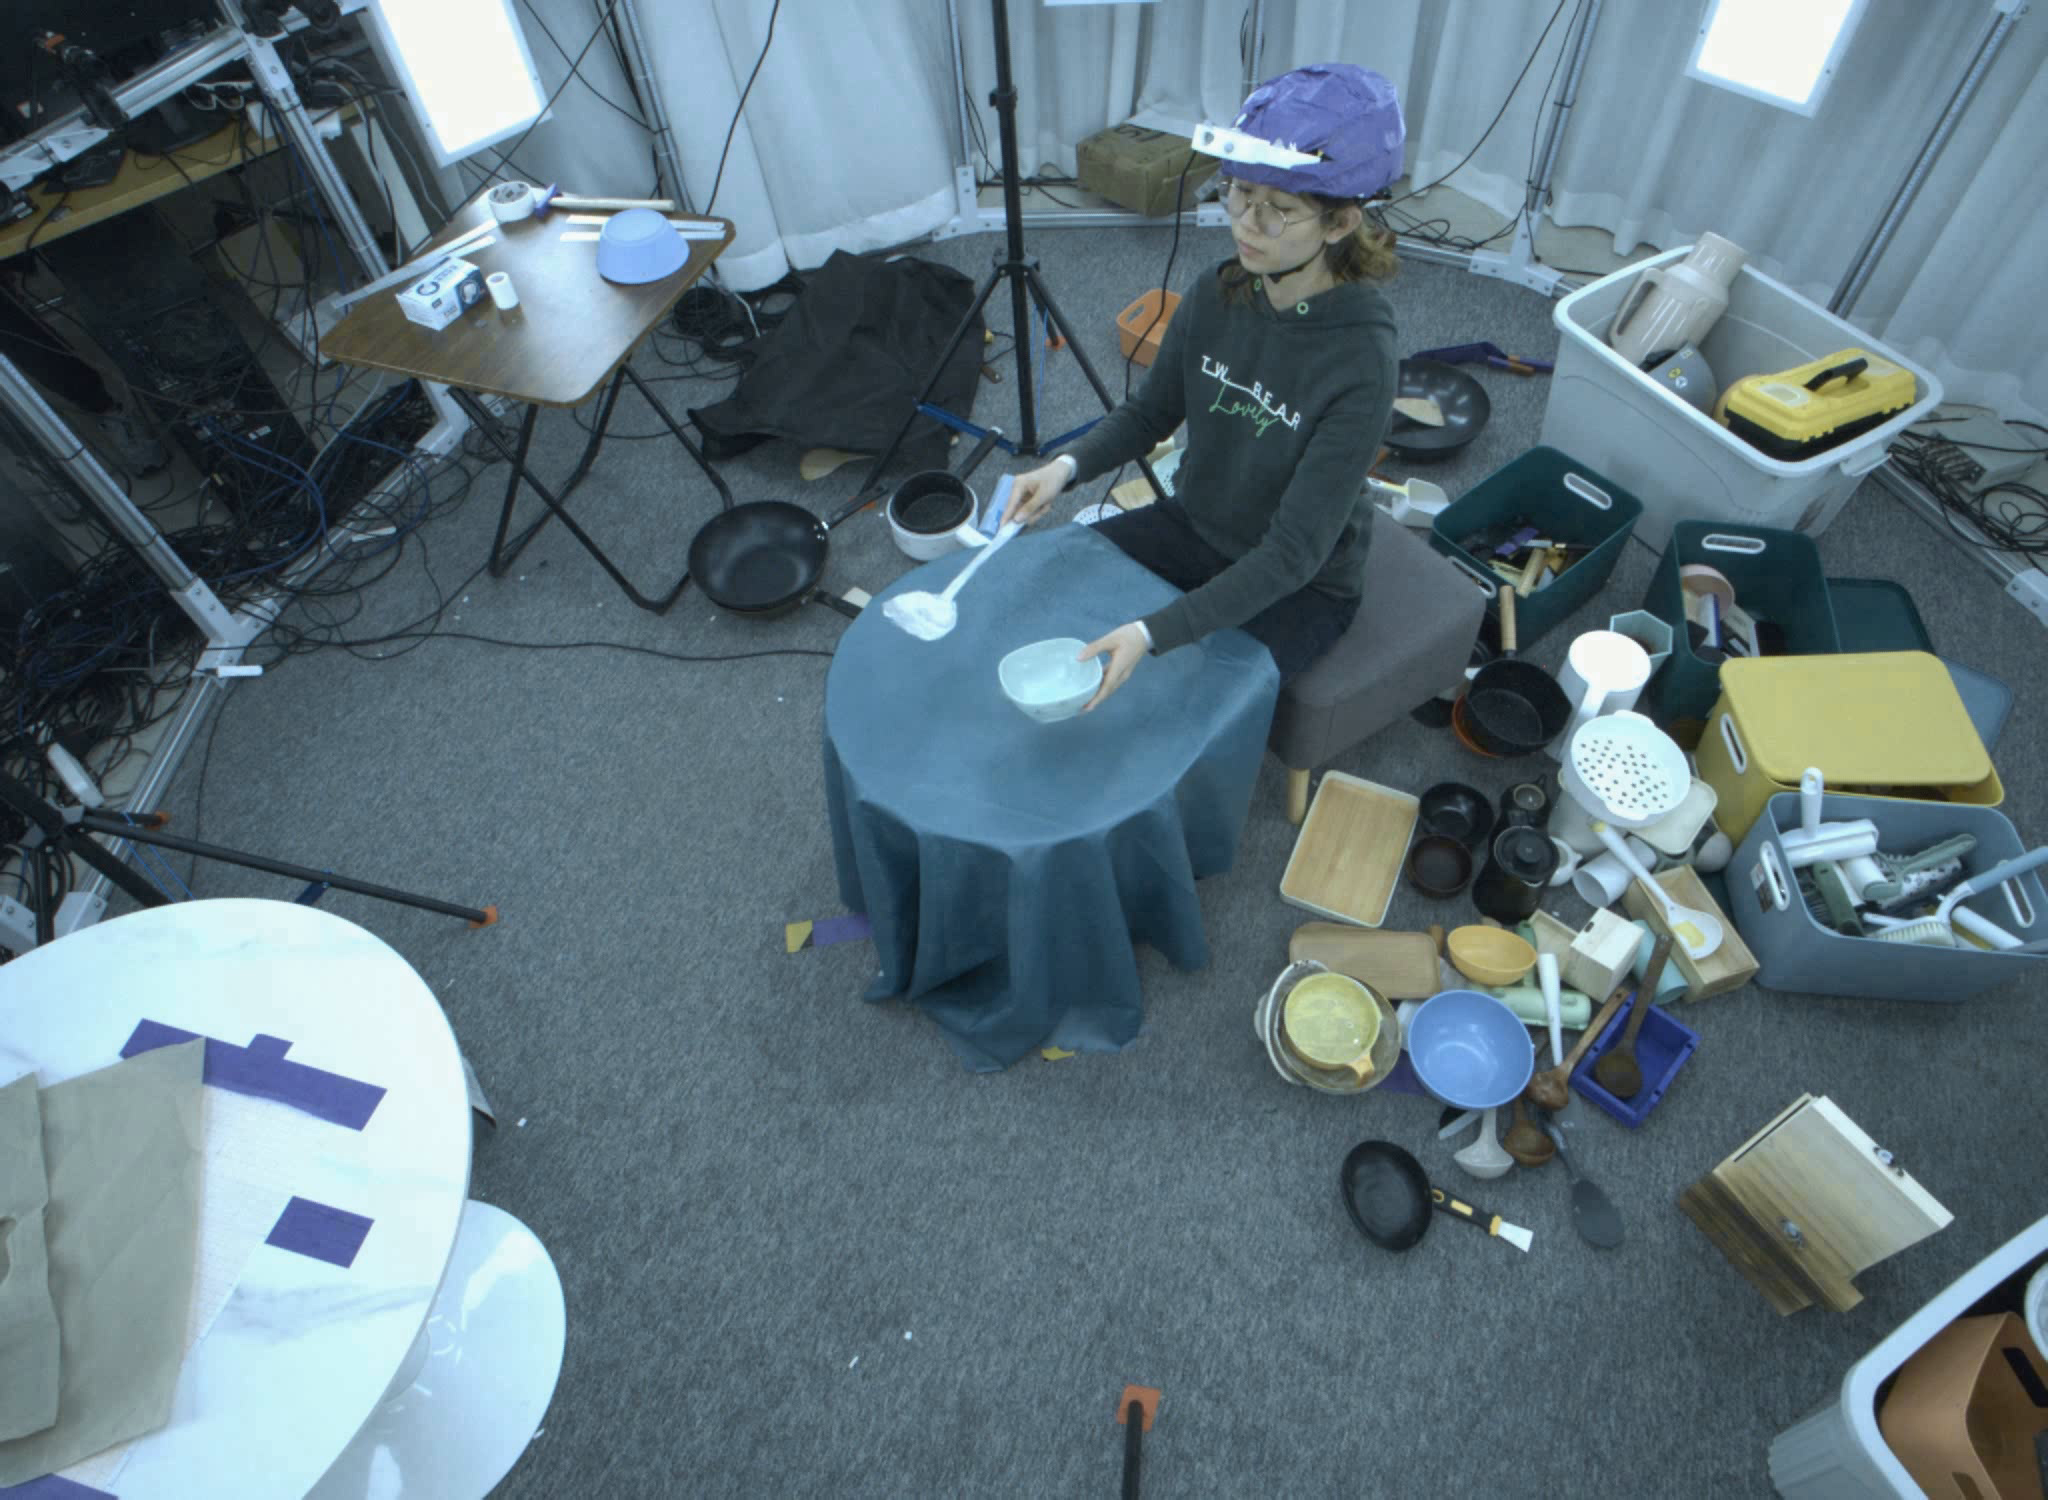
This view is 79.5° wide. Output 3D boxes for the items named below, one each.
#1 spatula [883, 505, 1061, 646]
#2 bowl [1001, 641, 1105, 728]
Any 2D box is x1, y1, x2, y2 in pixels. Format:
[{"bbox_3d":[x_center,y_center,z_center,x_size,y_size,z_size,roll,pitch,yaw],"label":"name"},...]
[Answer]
[{"bbox_3d":[-0.063,-0.274,1.815,0.097,0.045,0.367,35,63,15],"label":"spatula"},{"bbox_3d":[0.043,-0.083,1.720,0.151,0.059,0.150,-3,45,5],"label":"bowl"}]
